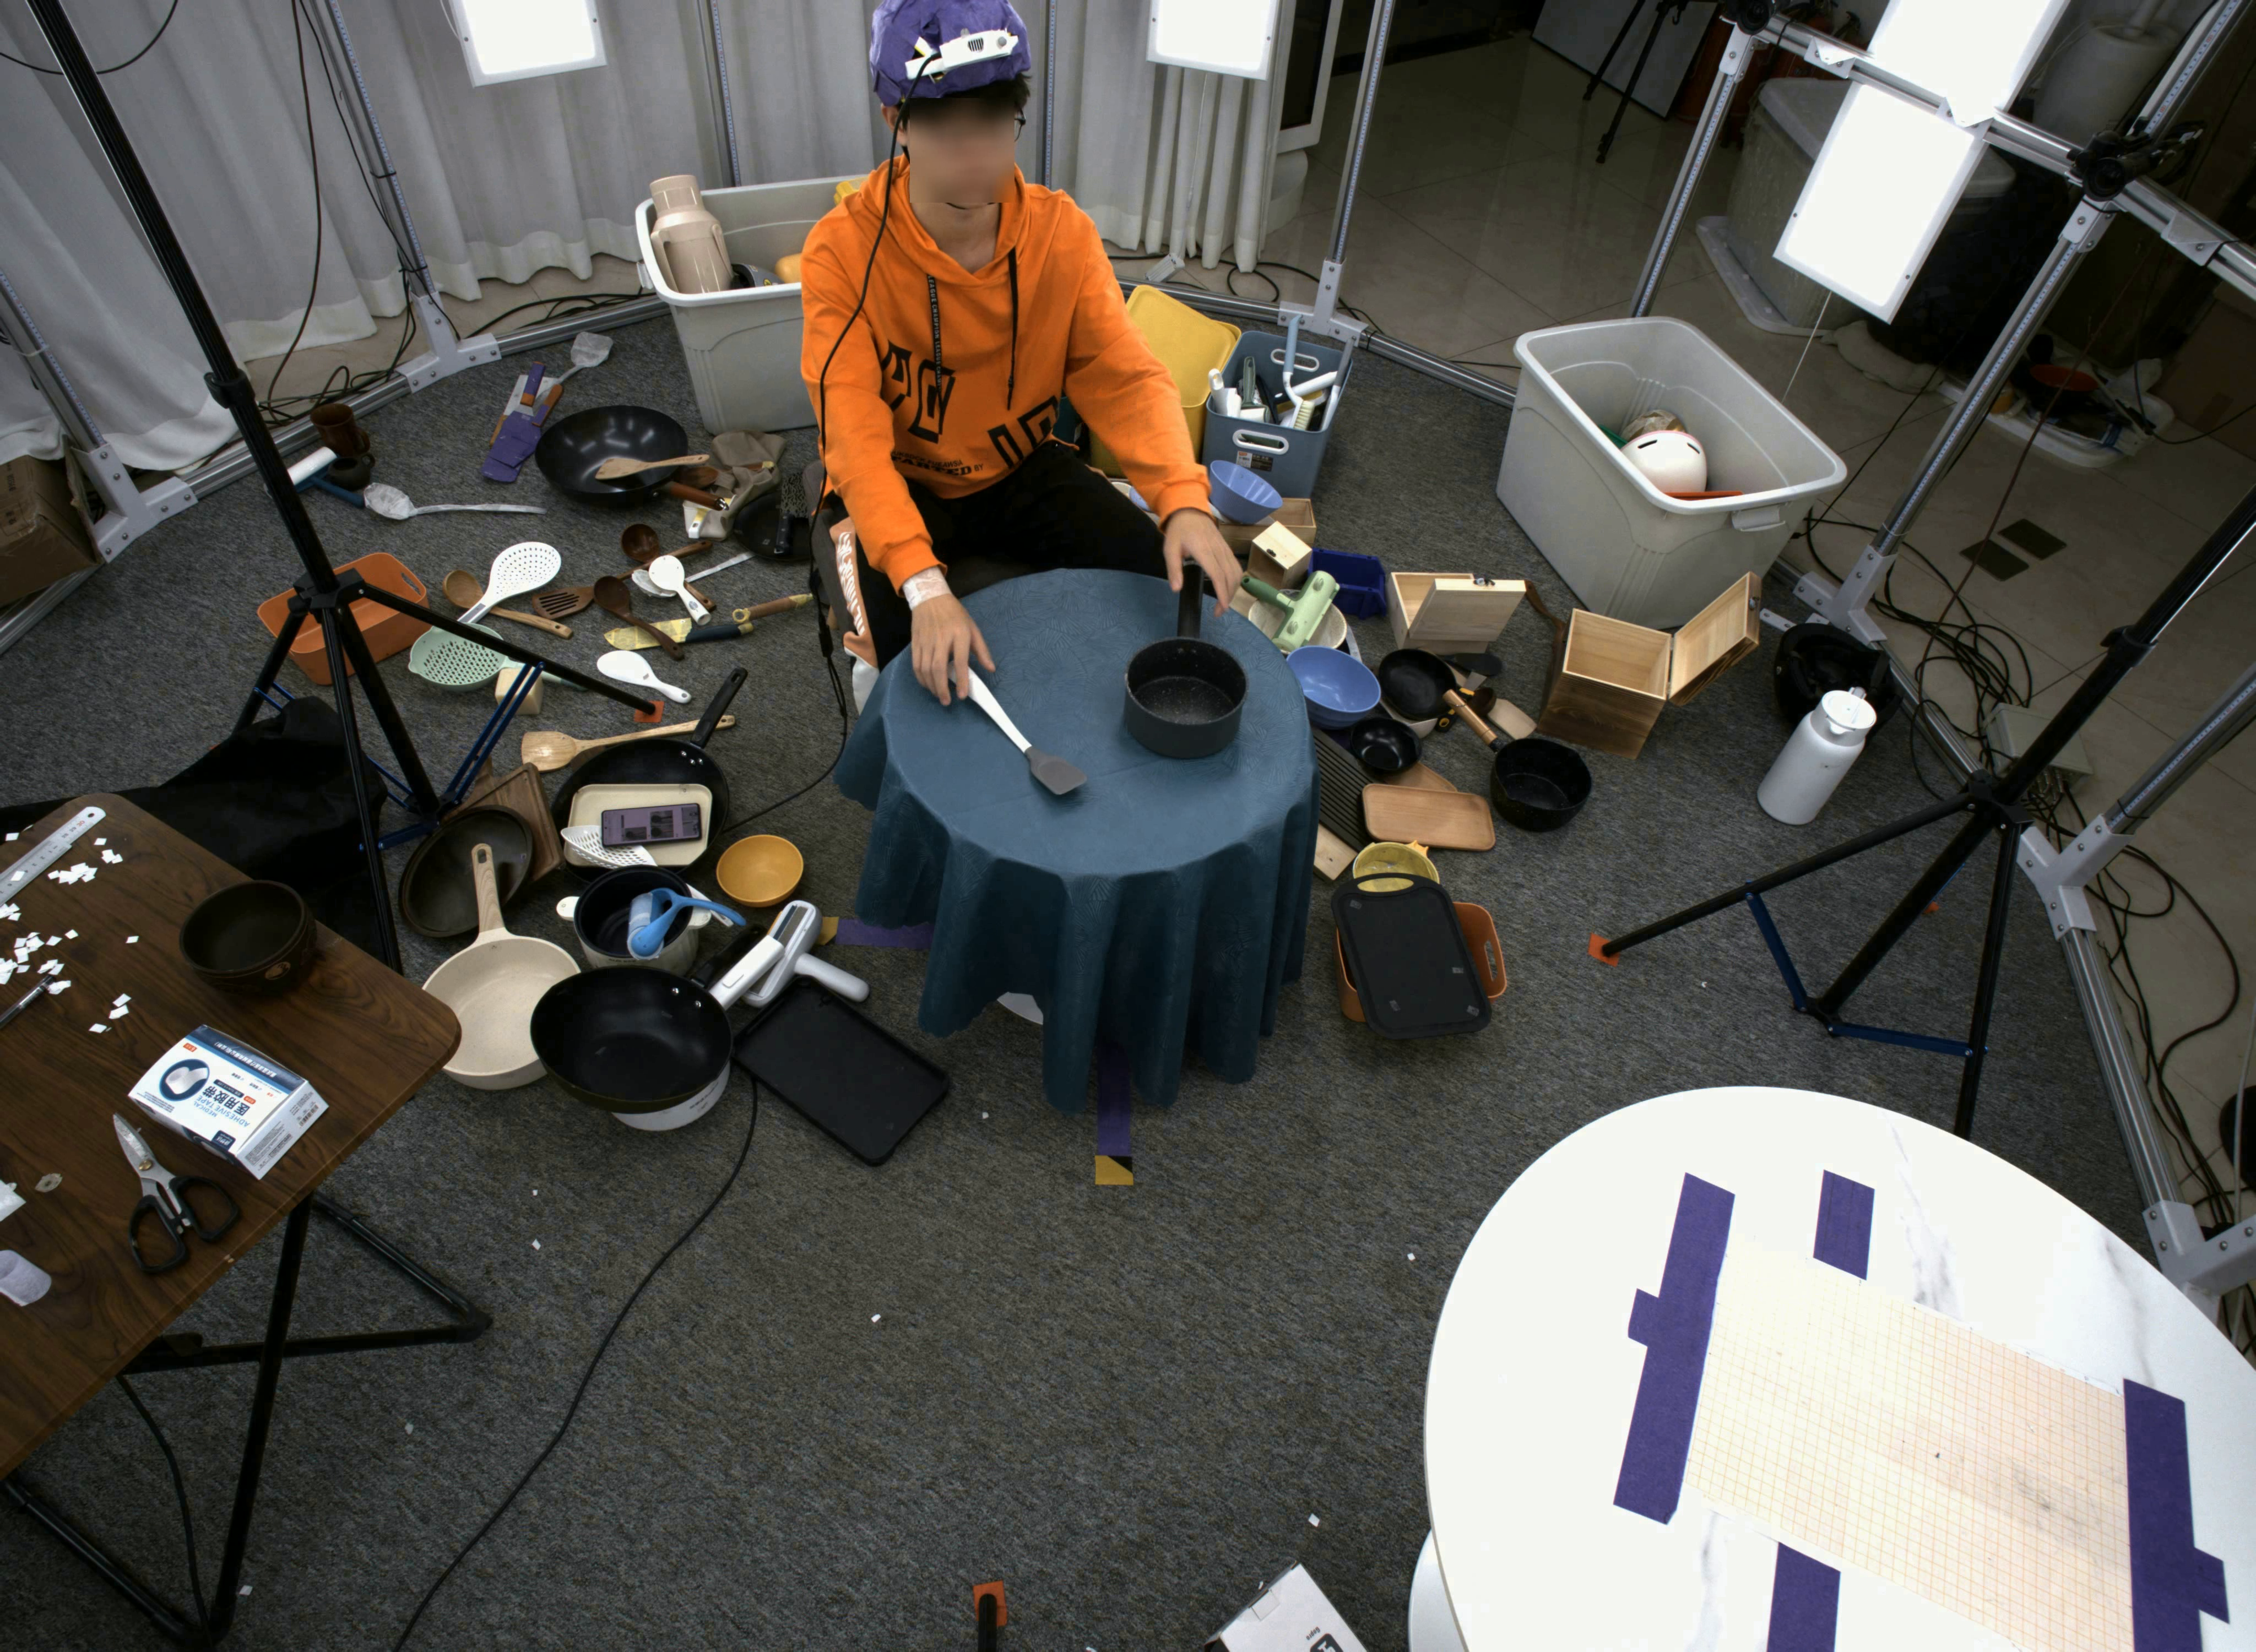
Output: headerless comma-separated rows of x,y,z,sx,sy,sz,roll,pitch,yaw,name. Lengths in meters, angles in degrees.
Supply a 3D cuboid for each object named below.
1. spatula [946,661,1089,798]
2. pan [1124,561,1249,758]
-0.156,-0.132,1.752,0.059,0.031,0.293,-26,55,-28,spatula
0.087,-0.240,1.828,0.172,0.084,0.336,7,51,2,pan
